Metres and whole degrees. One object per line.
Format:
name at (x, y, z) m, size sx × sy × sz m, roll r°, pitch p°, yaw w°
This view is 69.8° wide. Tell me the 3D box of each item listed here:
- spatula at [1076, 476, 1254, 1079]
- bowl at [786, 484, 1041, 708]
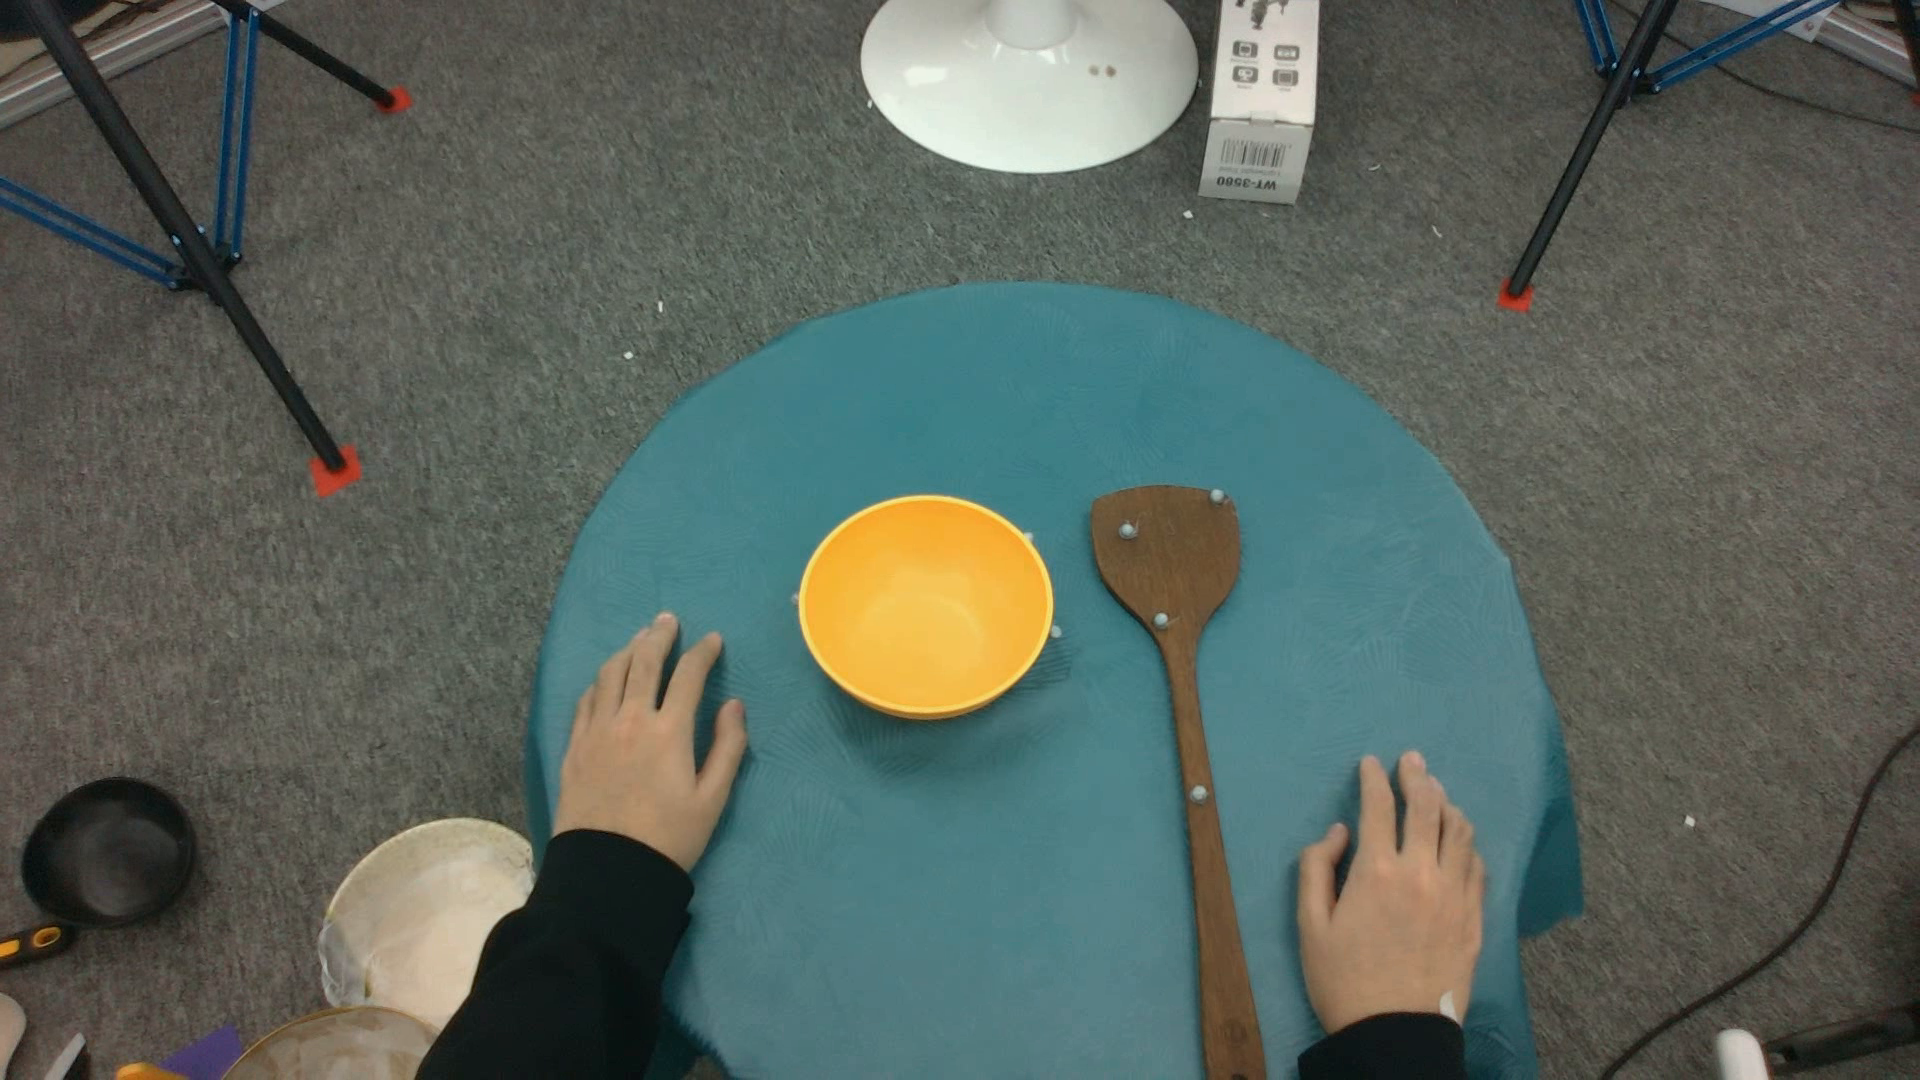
spatula at (0.126, 0.121, 0.780) m, size 0.096 × 0.016 × 0.387 m, roll -1°, pitch 56°, yaw -2°
bowl at (-0.025, 0.042, 0.804) m, size 0.145 × 0.060 × 0.146 m, roll -1°, pitch 57°, yaw 1°
